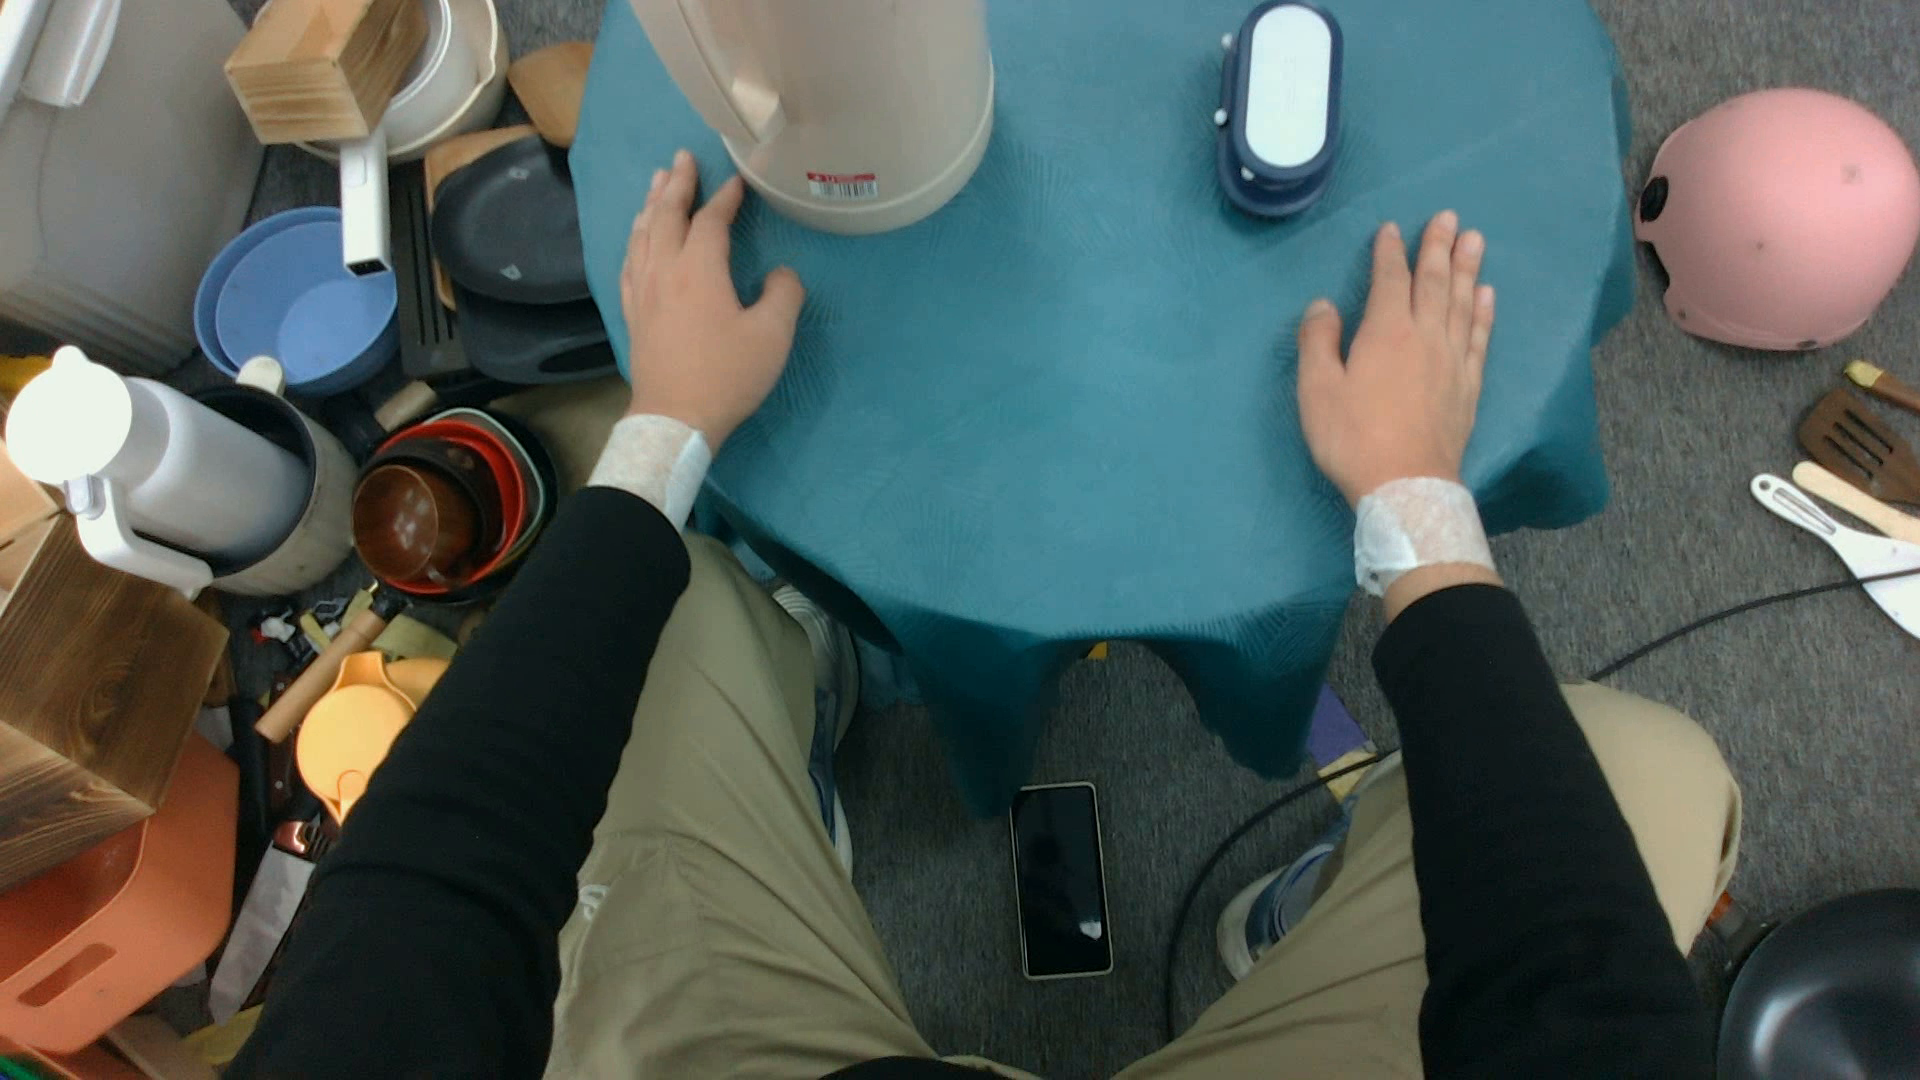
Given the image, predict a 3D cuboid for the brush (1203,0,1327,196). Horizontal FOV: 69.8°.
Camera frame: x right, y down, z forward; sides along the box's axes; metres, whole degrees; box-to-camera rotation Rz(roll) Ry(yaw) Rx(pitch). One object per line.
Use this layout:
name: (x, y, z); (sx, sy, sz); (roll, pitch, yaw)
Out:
brush: (0.169, -0.251, 0.763); (0.068, 0.061, 0.122); (6, 77, 6)

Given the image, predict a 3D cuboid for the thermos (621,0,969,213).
thermos: (-0.085, -0.292, 0.605); (0.175, 0.405, 0.207); (21, 79, 5)
